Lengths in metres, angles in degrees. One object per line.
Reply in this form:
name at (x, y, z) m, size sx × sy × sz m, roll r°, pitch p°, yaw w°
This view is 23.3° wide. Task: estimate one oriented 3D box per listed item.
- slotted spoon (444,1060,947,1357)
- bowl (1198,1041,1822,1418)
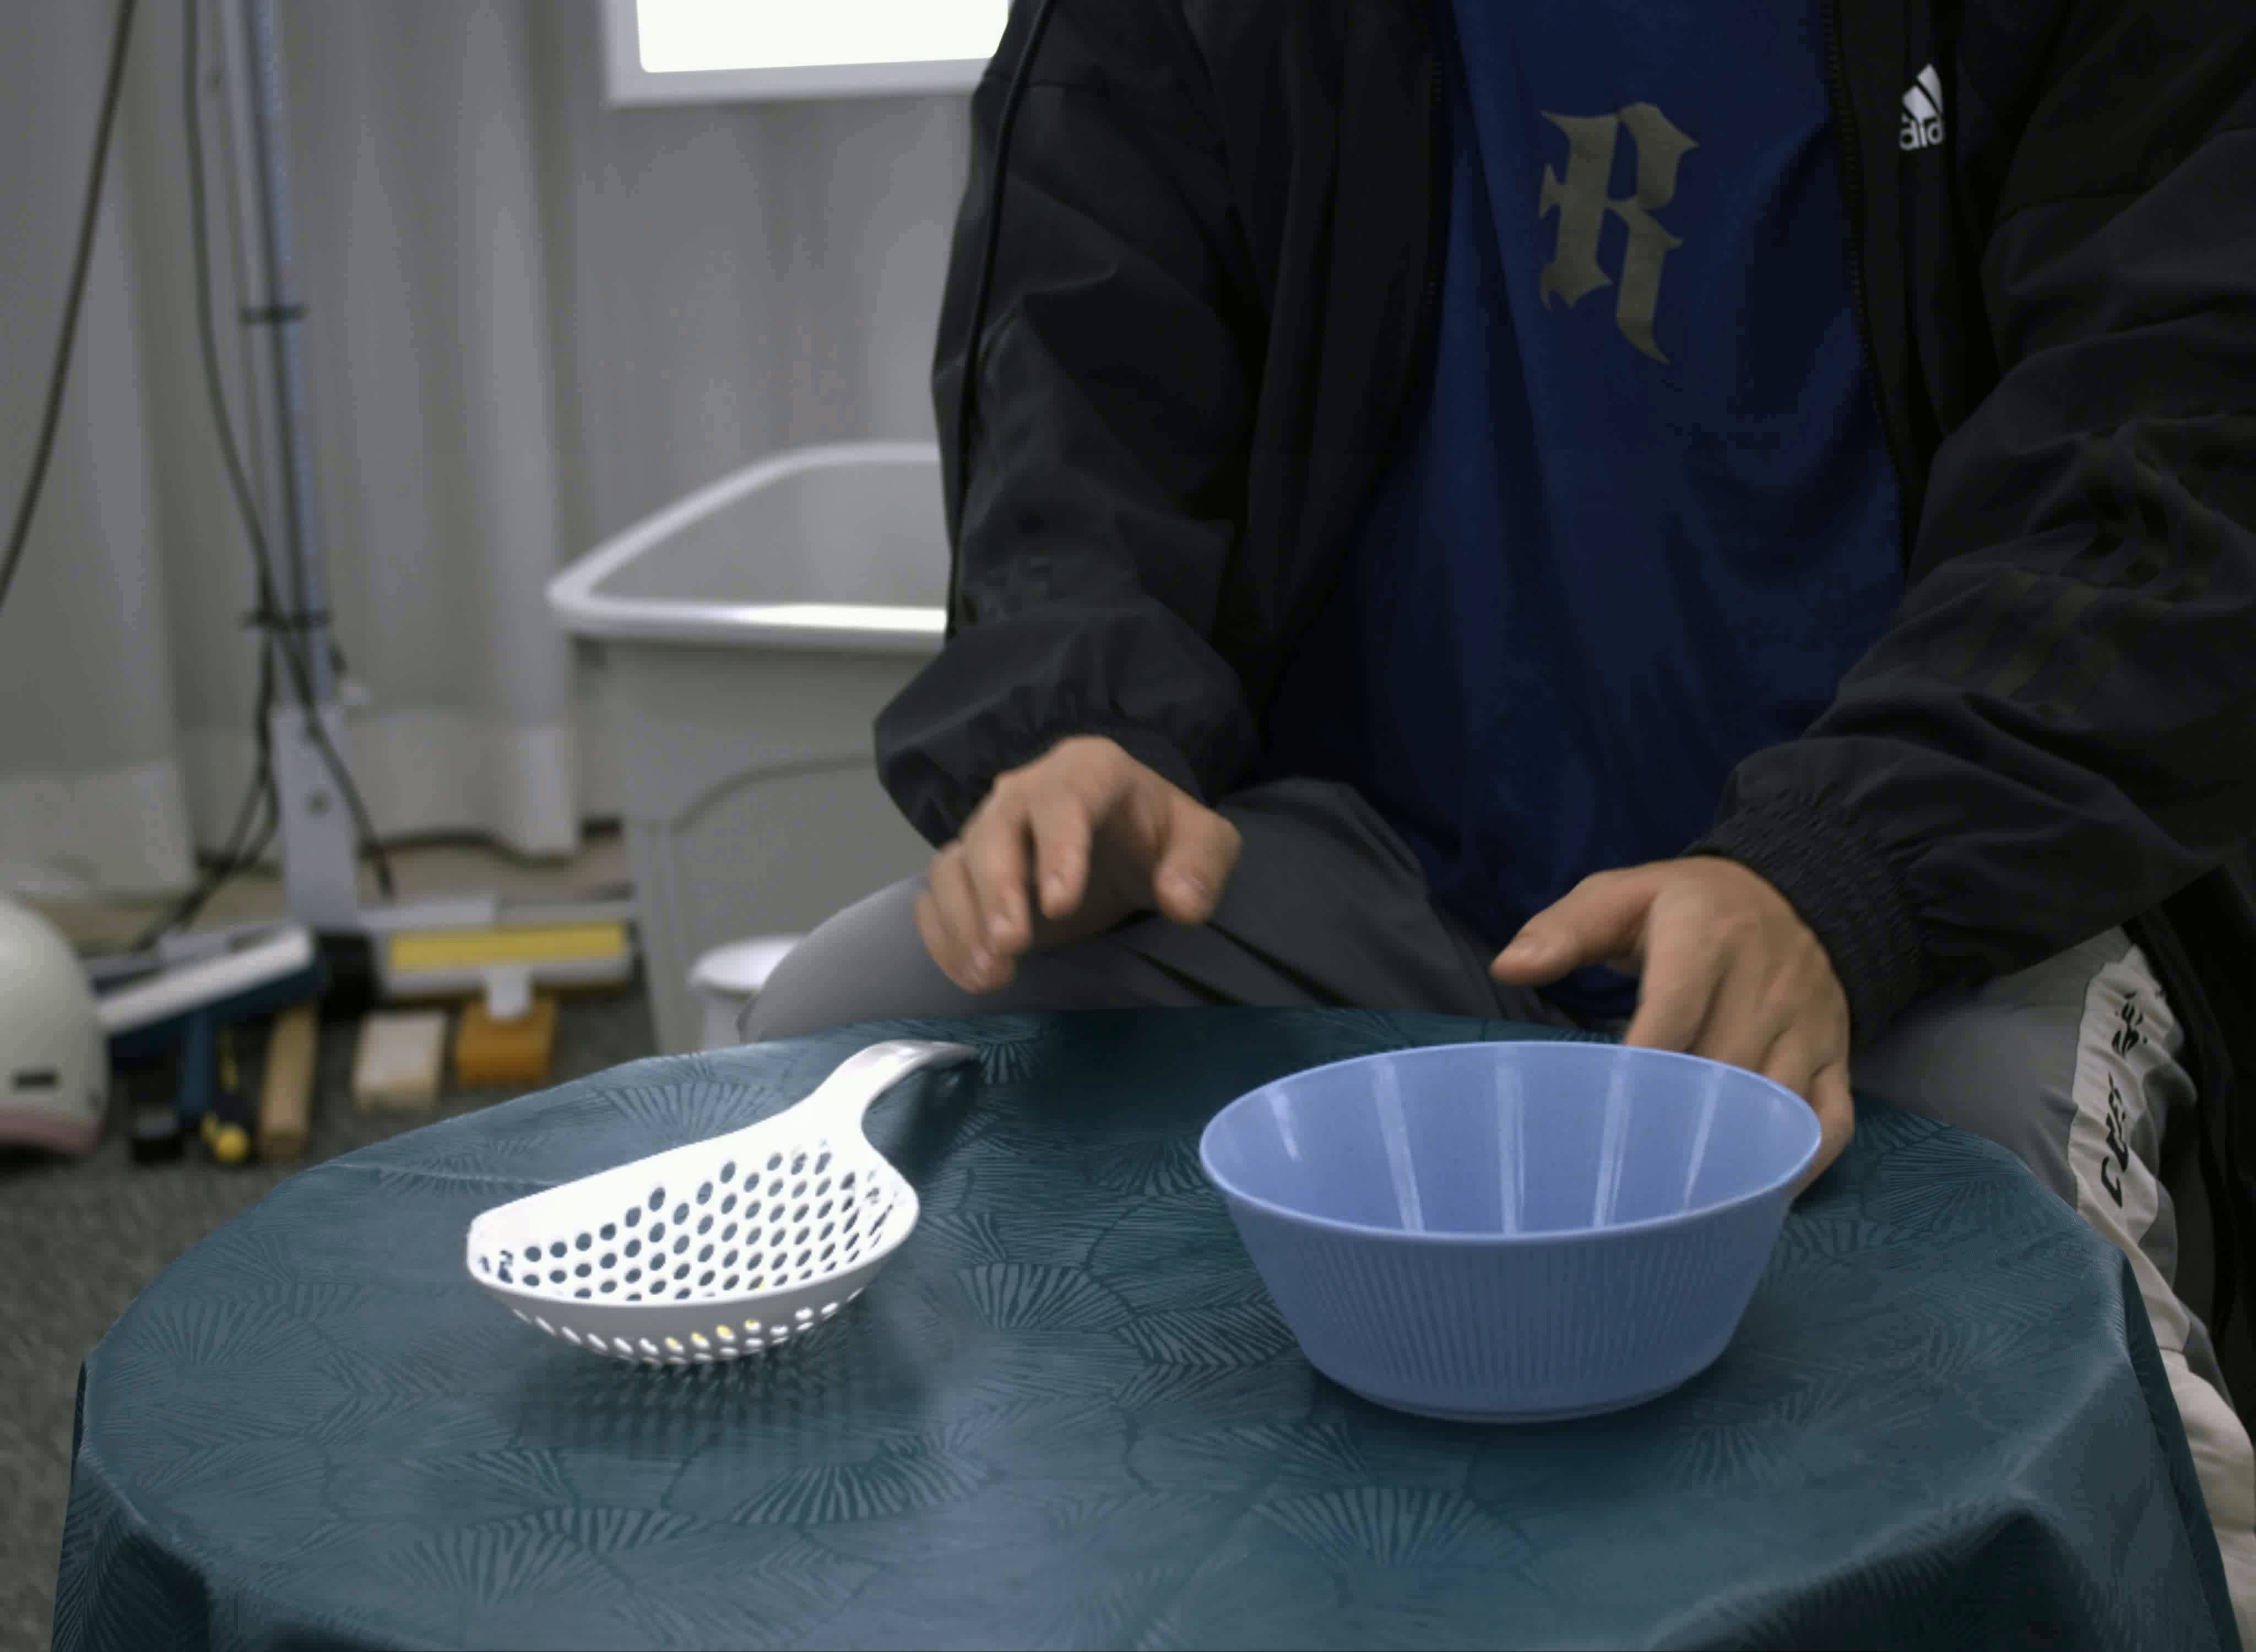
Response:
slotted spoon at (-0.100, 0.104, 1.689) m, size 0.136 × 0.050 × 0.349 m, roll -3°, pitch 14°, yaw 14°
bowl at (0.108, 0.117, 1.546) m, size 0.175 × 0.070 × 0.177 m, roll -2°, pitch 14°, yaw 0°
